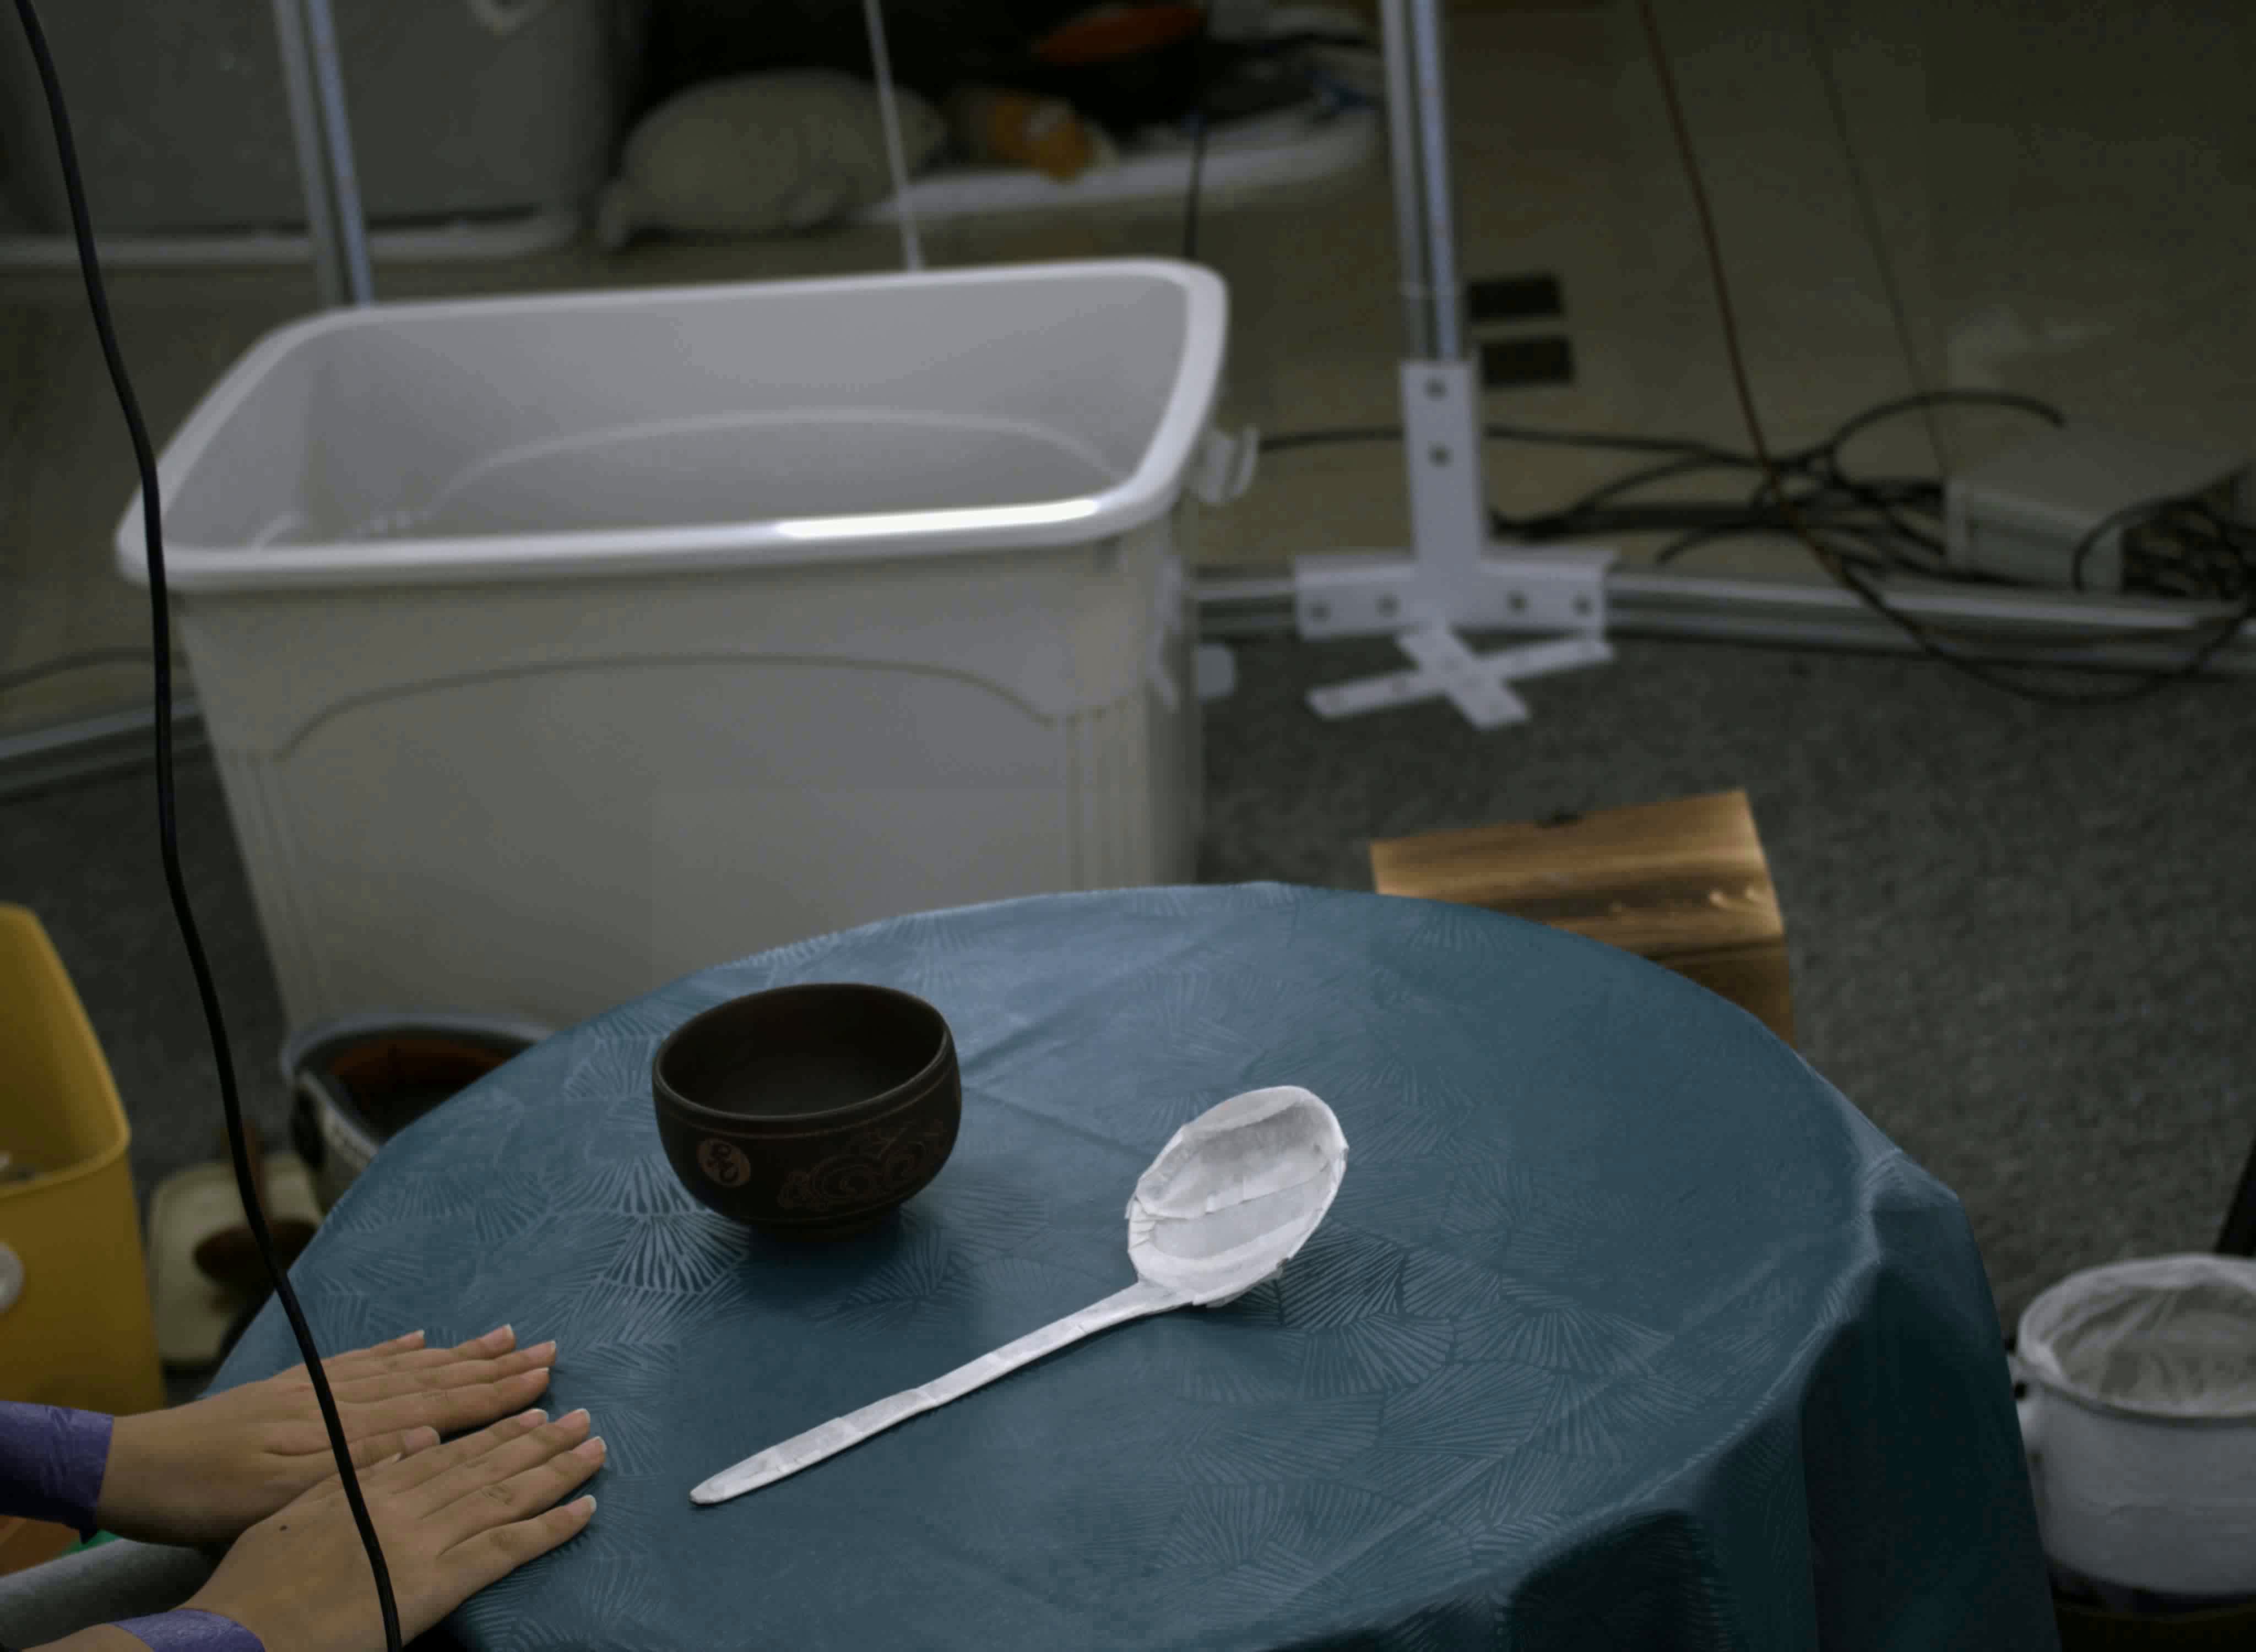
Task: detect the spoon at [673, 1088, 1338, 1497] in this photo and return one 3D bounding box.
[{"bbox_3d":[-0.047,0.165,2.036,0.276,0.060,0.100,-20,25,-26],"label":"spoon"}]

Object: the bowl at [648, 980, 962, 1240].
[{"bbox_3d":[-0.120,0.113,2.145,0.118,0.071,0.116,-5,25,3],"label":"bowl"}]
